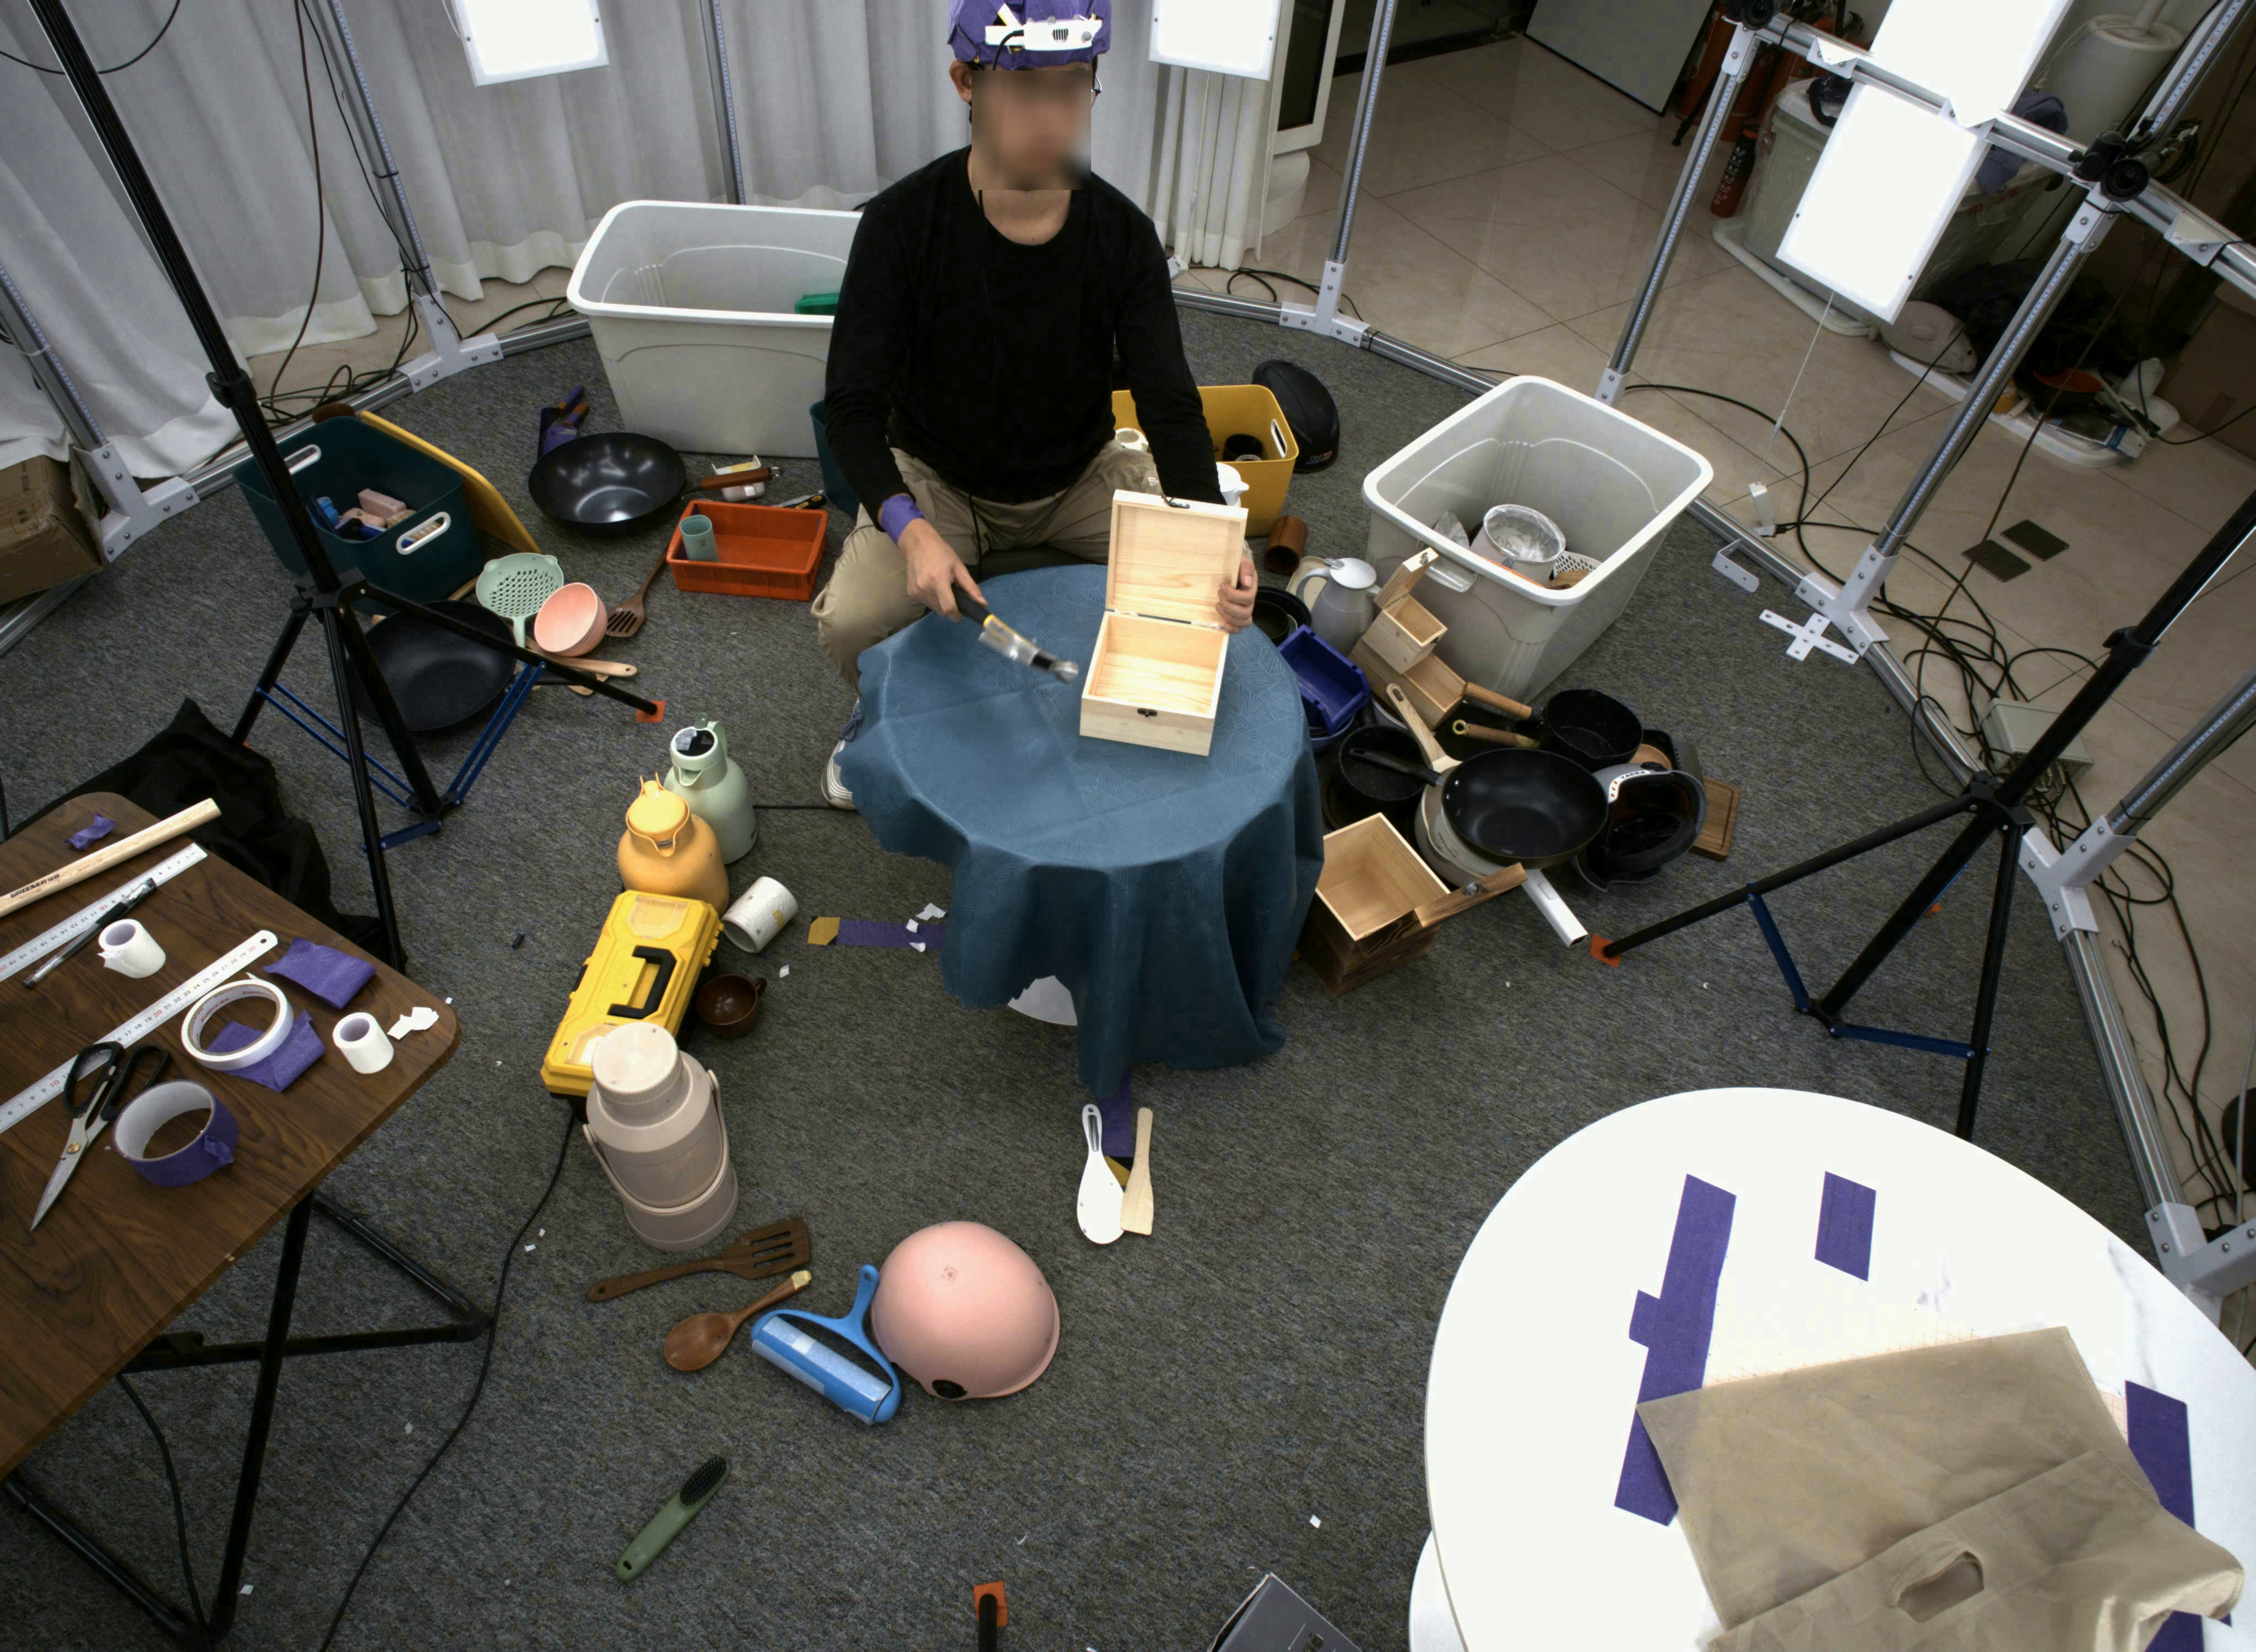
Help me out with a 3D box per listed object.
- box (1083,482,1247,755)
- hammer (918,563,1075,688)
[{"bbox_3d":[0.049,-0.282,1.755,0.182,0.247,0.271,8,50,5],"label":"box"},{"bbox_3d":[-0.204,-0.291,1.778,0.130,0.032,0.345,18,18,-42],"label":"hammer"}]
